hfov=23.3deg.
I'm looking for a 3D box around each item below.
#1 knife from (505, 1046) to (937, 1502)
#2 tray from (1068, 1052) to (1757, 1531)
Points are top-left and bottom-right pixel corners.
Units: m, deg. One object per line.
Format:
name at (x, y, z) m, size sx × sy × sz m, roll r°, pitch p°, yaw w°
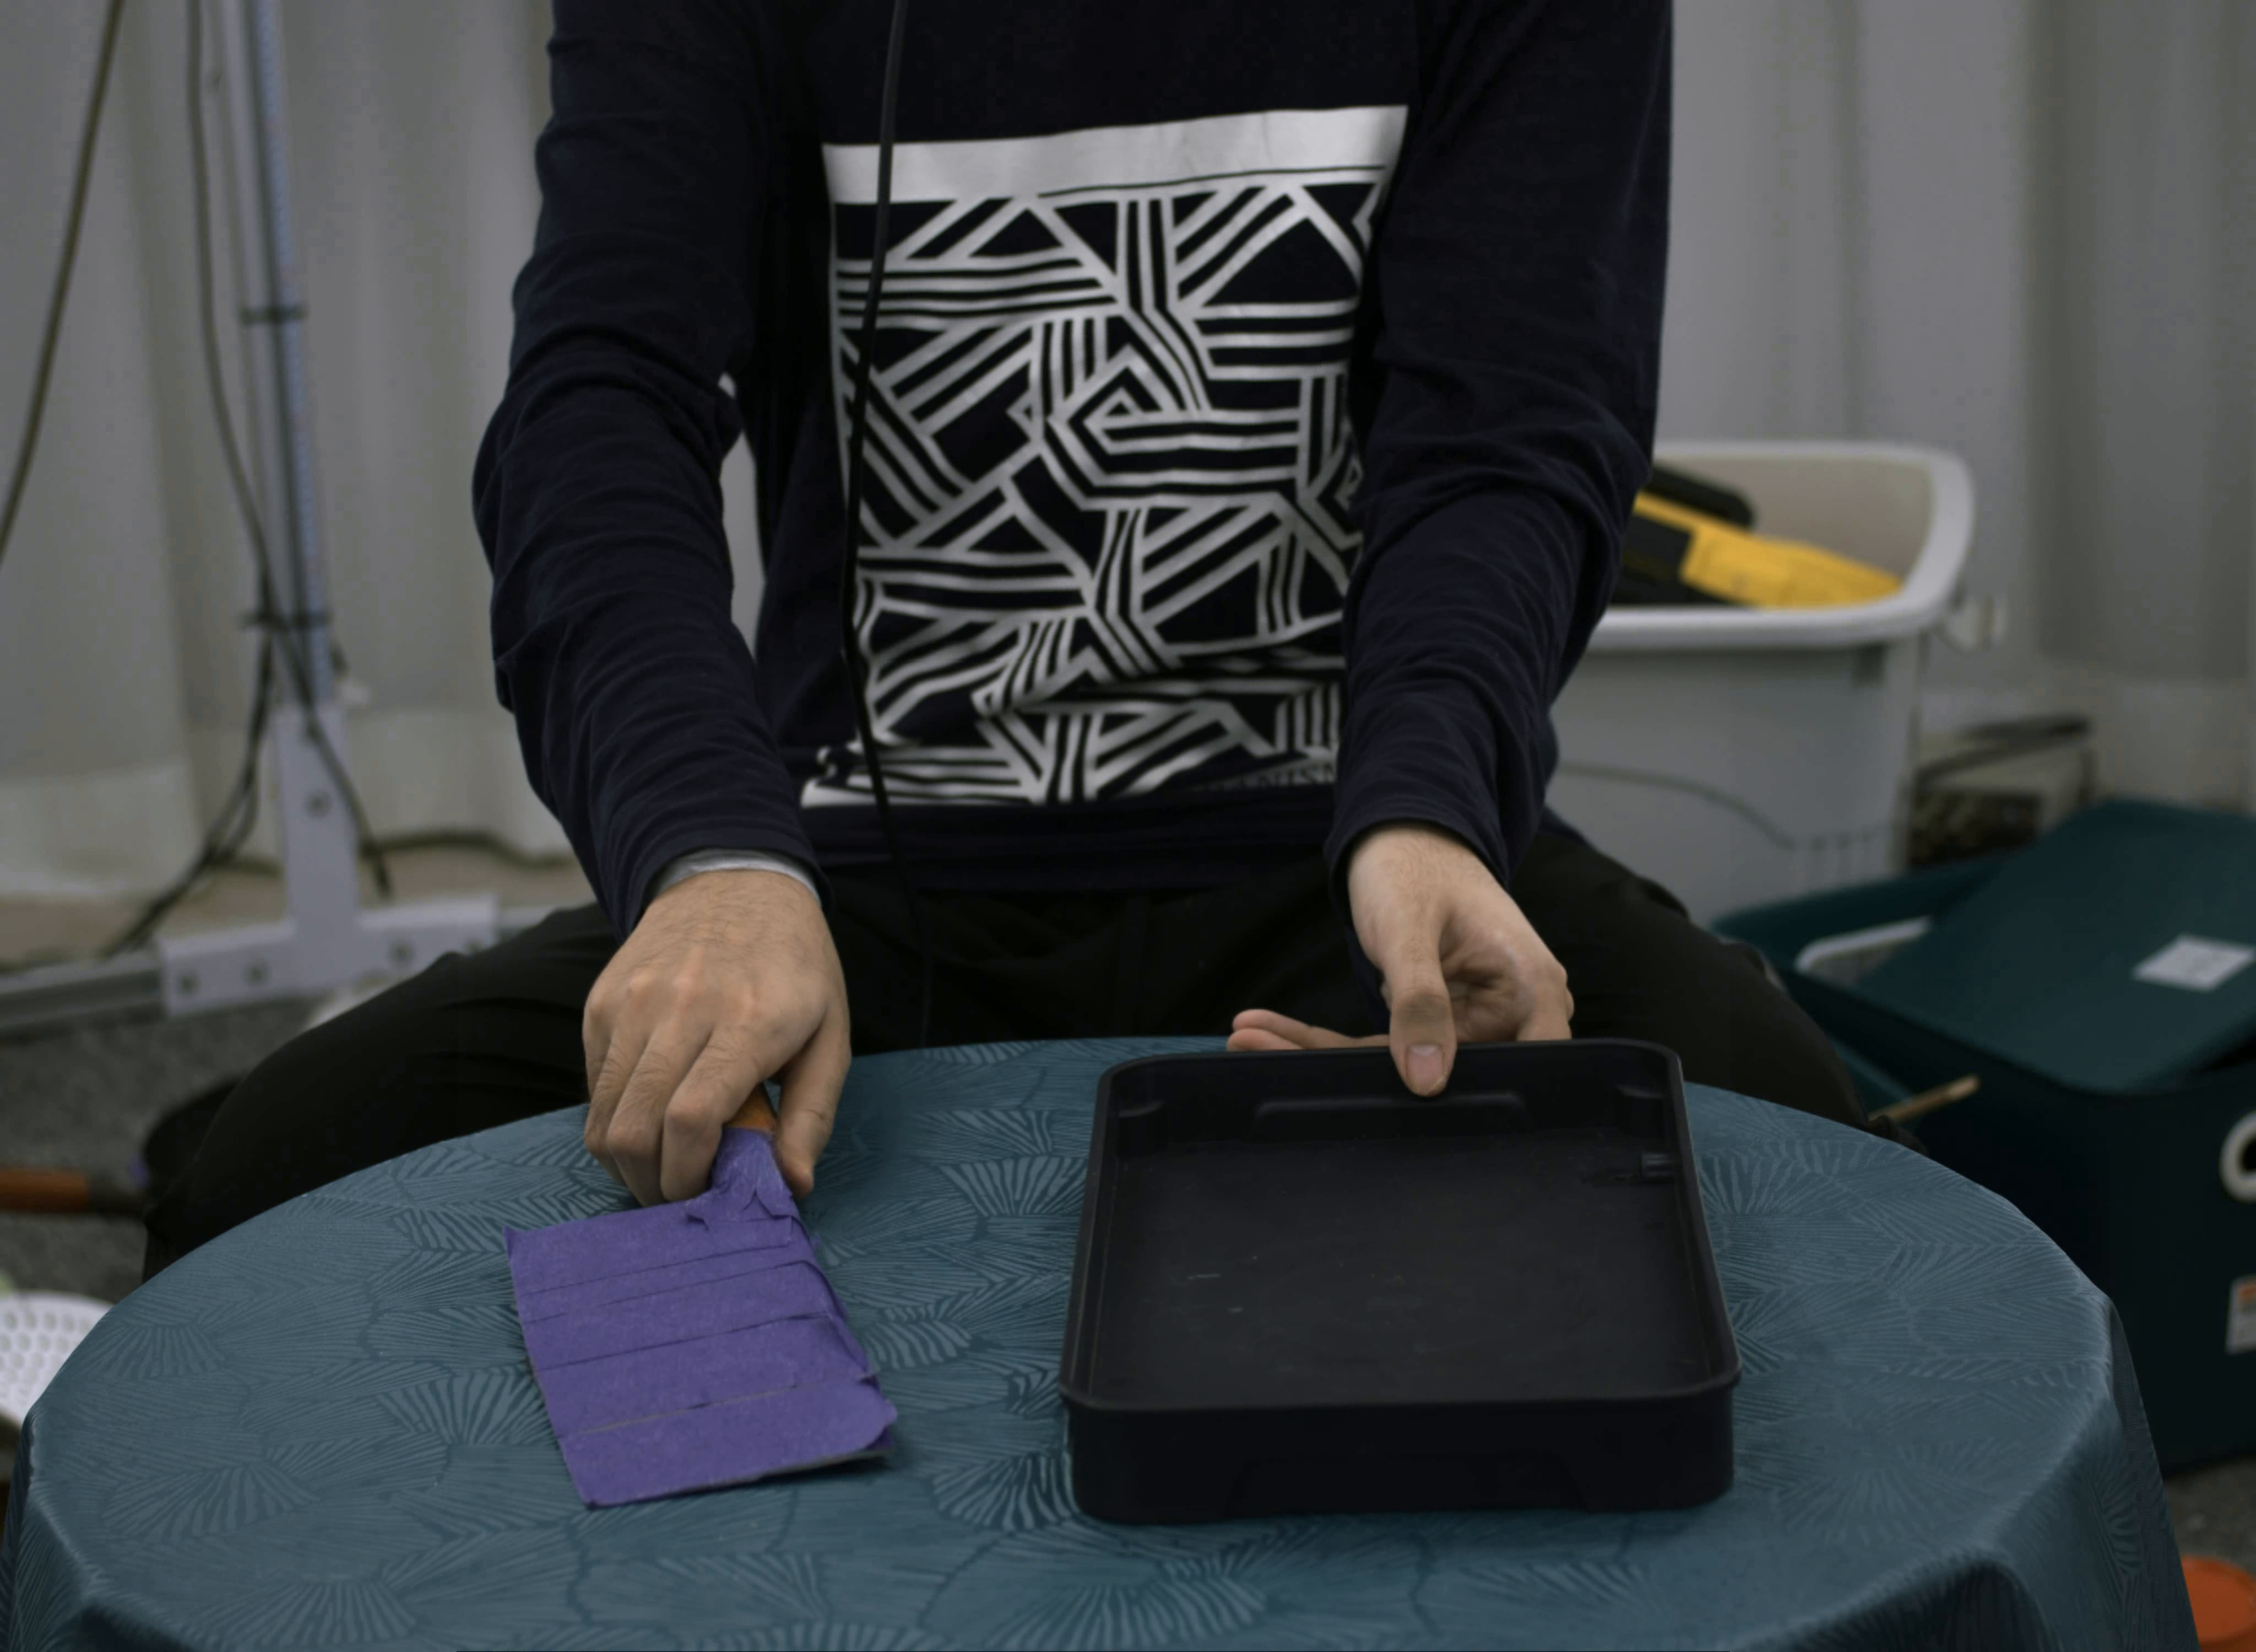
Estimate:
knife at (-0.136, 0.129, 1.628) m, size 0.103 × 0.032 × 0.318 m, roll -8°, pitch 16°, yaw -11°
tray at (0.078, 0.129, 1.584) m, size 0.184 × 0.037 × 0.320 m, roll -3°, pitch 13°, yaw 2°
